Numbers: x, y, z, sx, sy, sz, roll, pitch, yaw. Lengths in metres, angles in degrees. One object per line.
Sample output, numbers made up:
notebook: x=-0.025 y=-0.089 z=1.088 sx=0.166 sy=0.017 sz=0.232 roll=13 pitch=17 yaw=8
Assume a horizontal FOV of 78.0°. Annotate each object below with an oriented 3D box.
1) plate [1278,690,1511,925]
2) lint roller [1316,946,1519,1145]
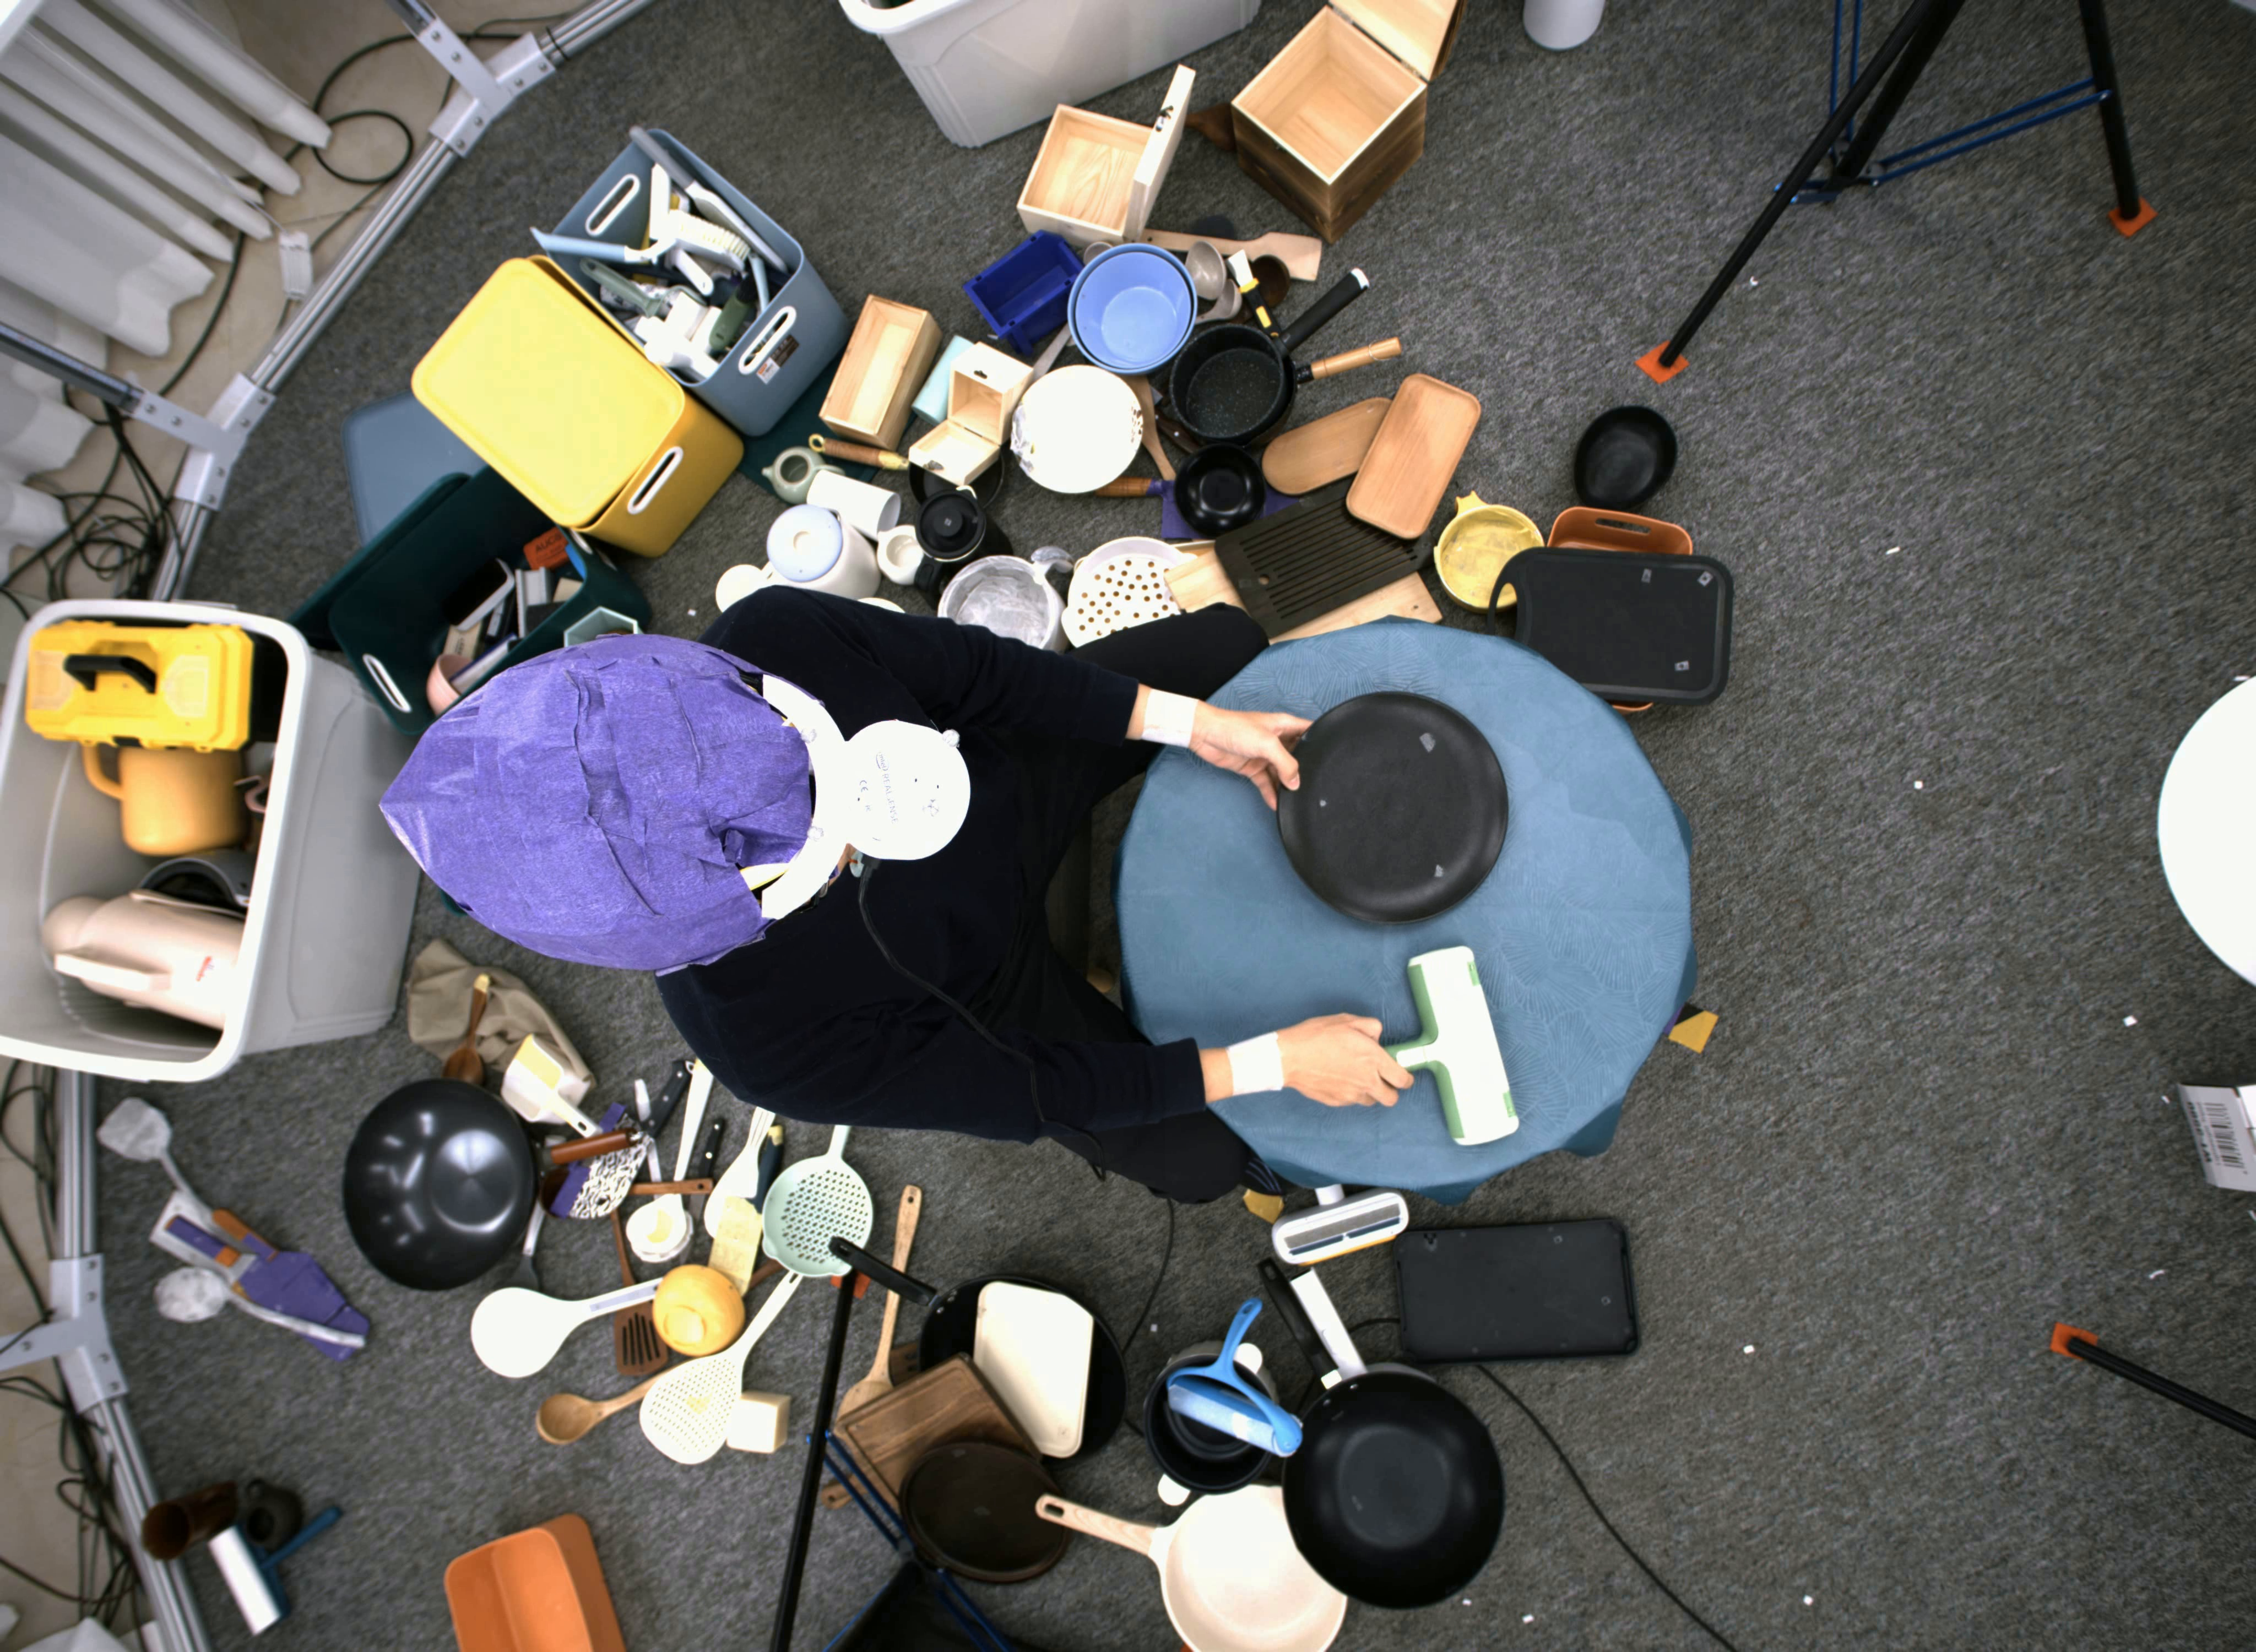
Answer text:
plate: x=0.276 y=-0.021 z=1.434 sx=0.244 sy=0.023 sz=0.244 roll=0 pitch=91 yaw=0
lint roller: x=0.284 y=0.234 z=1.397 sx=0.183 sy=0.083 sz=0.197 roll=-14 pitch=84 yaw=-5
